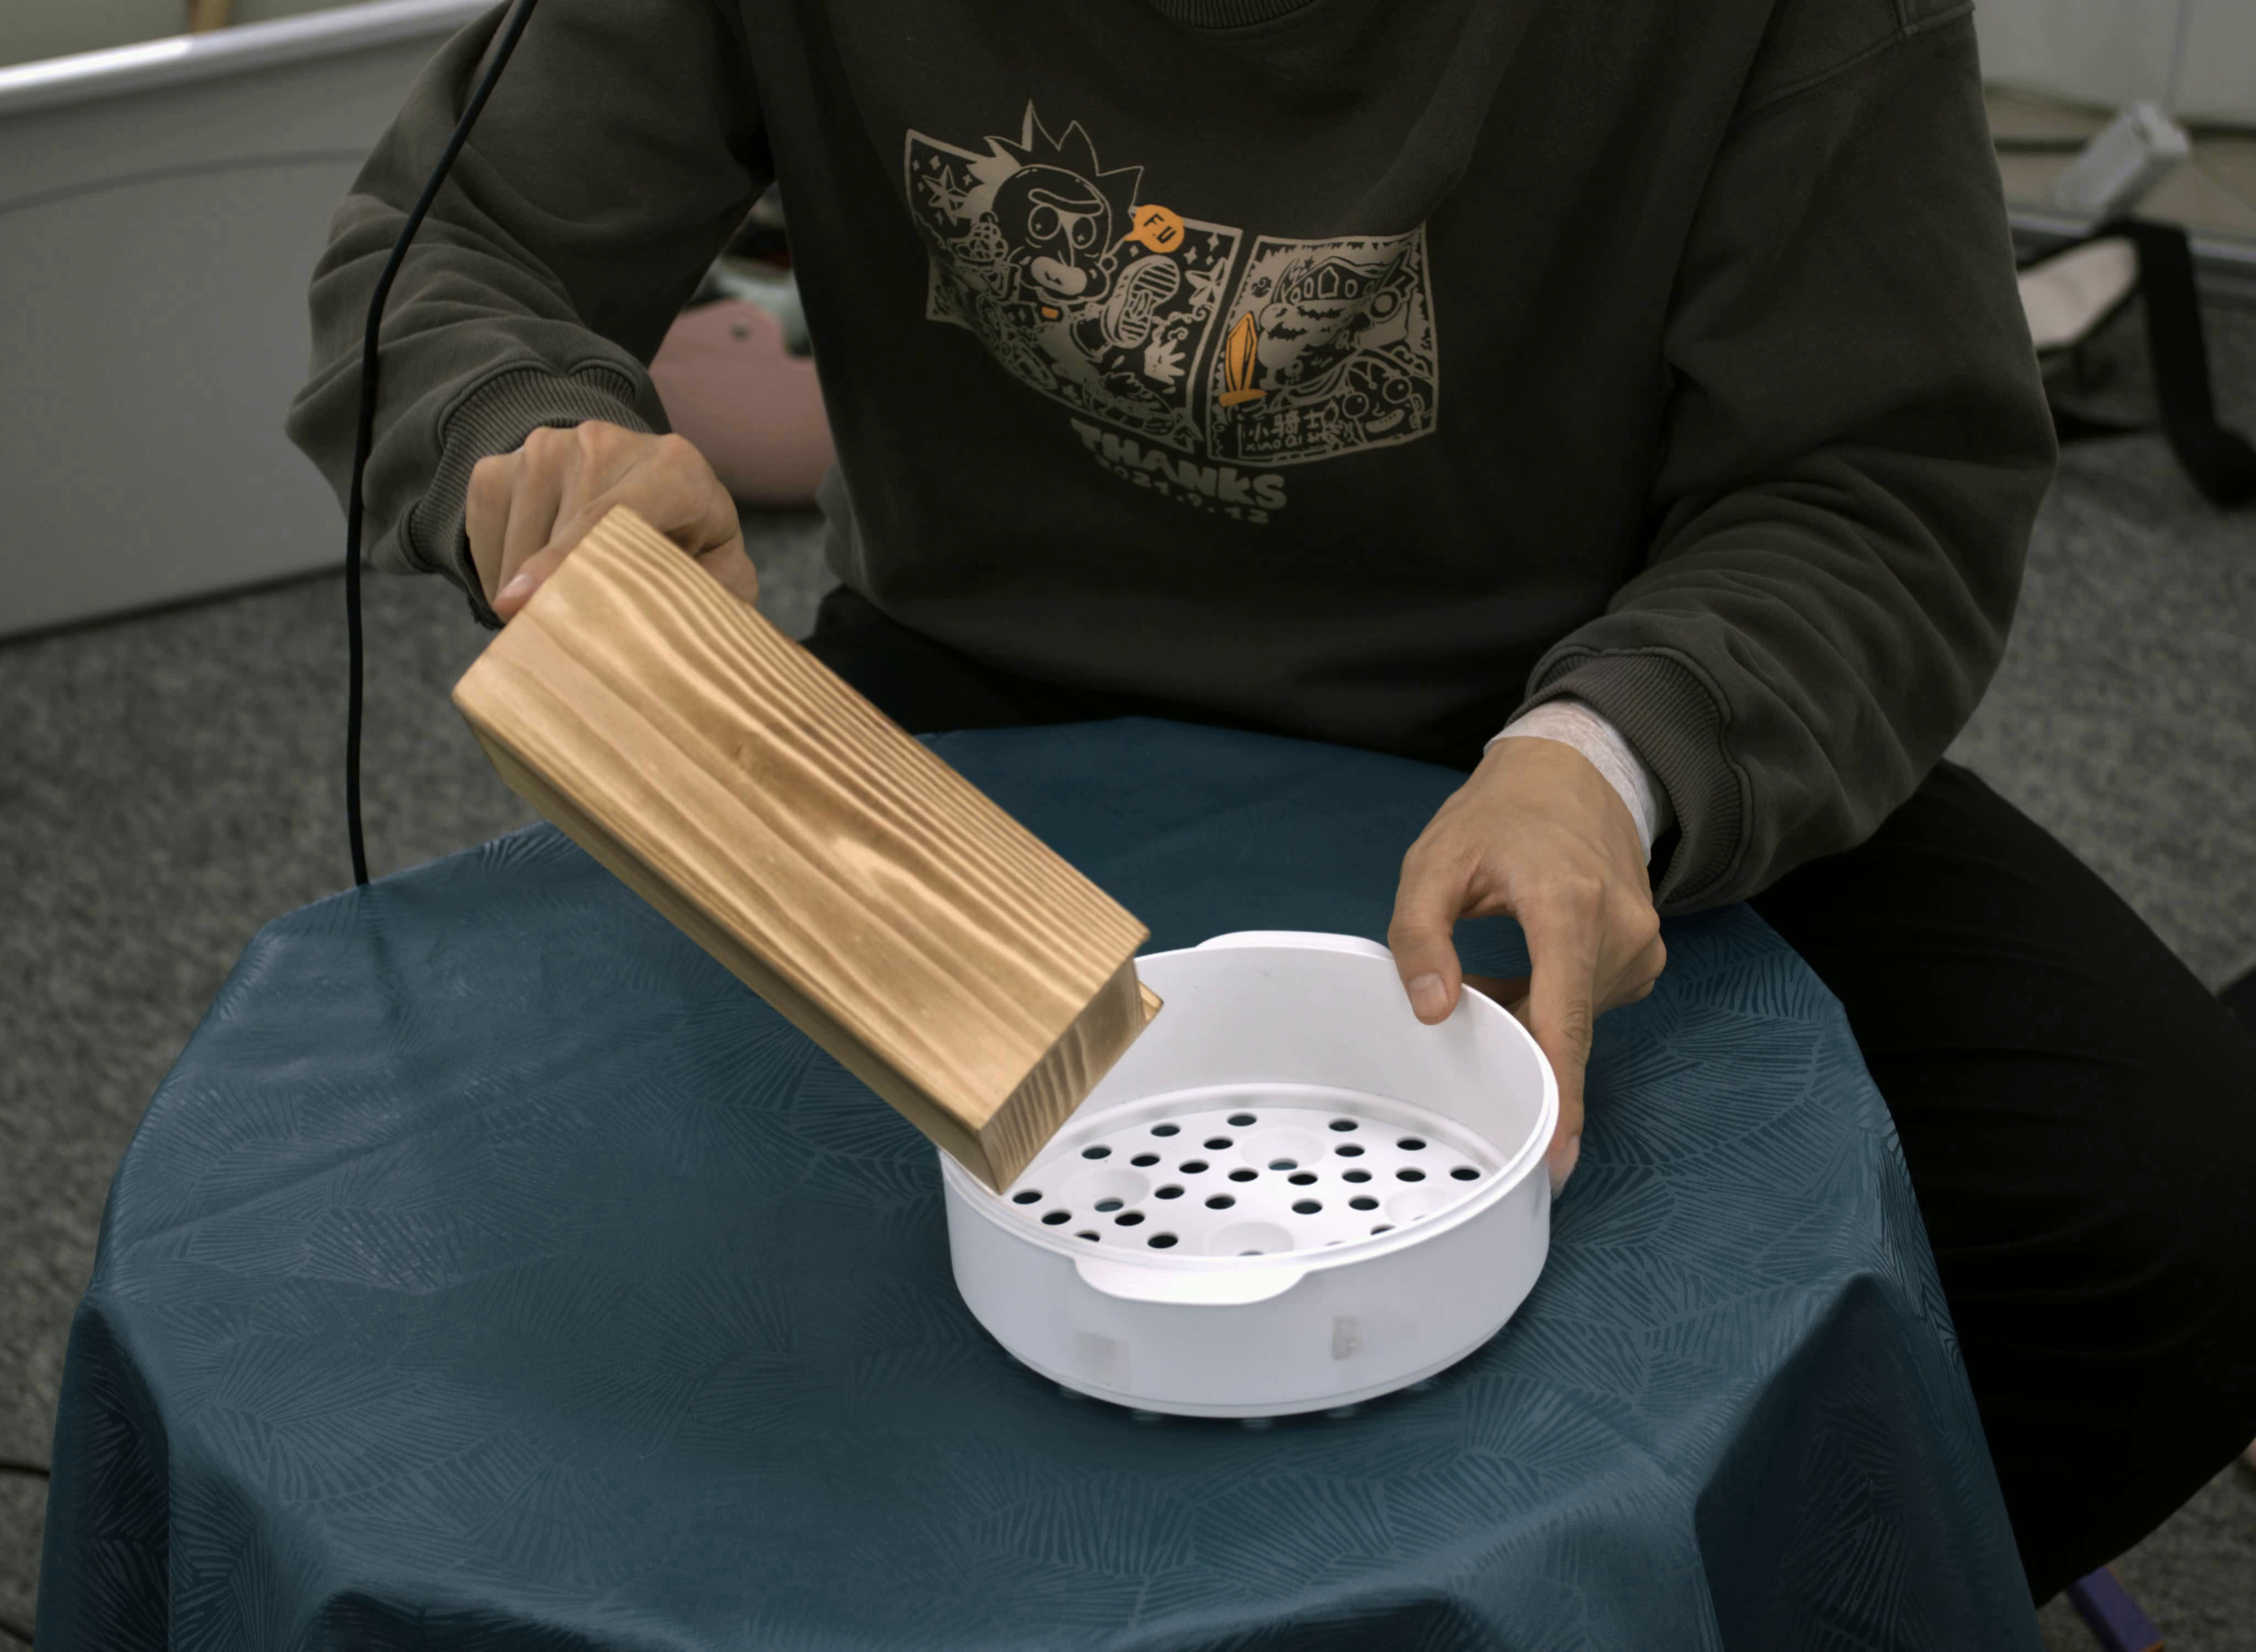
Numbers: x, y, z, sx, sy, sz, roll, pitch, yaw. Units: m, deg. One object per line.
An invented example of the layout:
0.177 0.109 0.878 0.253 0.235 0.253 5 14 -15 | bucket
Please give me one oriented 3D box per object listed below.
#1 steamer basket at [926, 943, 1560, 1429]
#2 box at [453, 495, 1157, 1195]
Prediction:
0.037 0.116 1.795 0.200 0.068 0.234 3 27 11 | steamer basket
-0.097 0.008 1.720 0.212 0.106 0.081 39 79 12 | box
